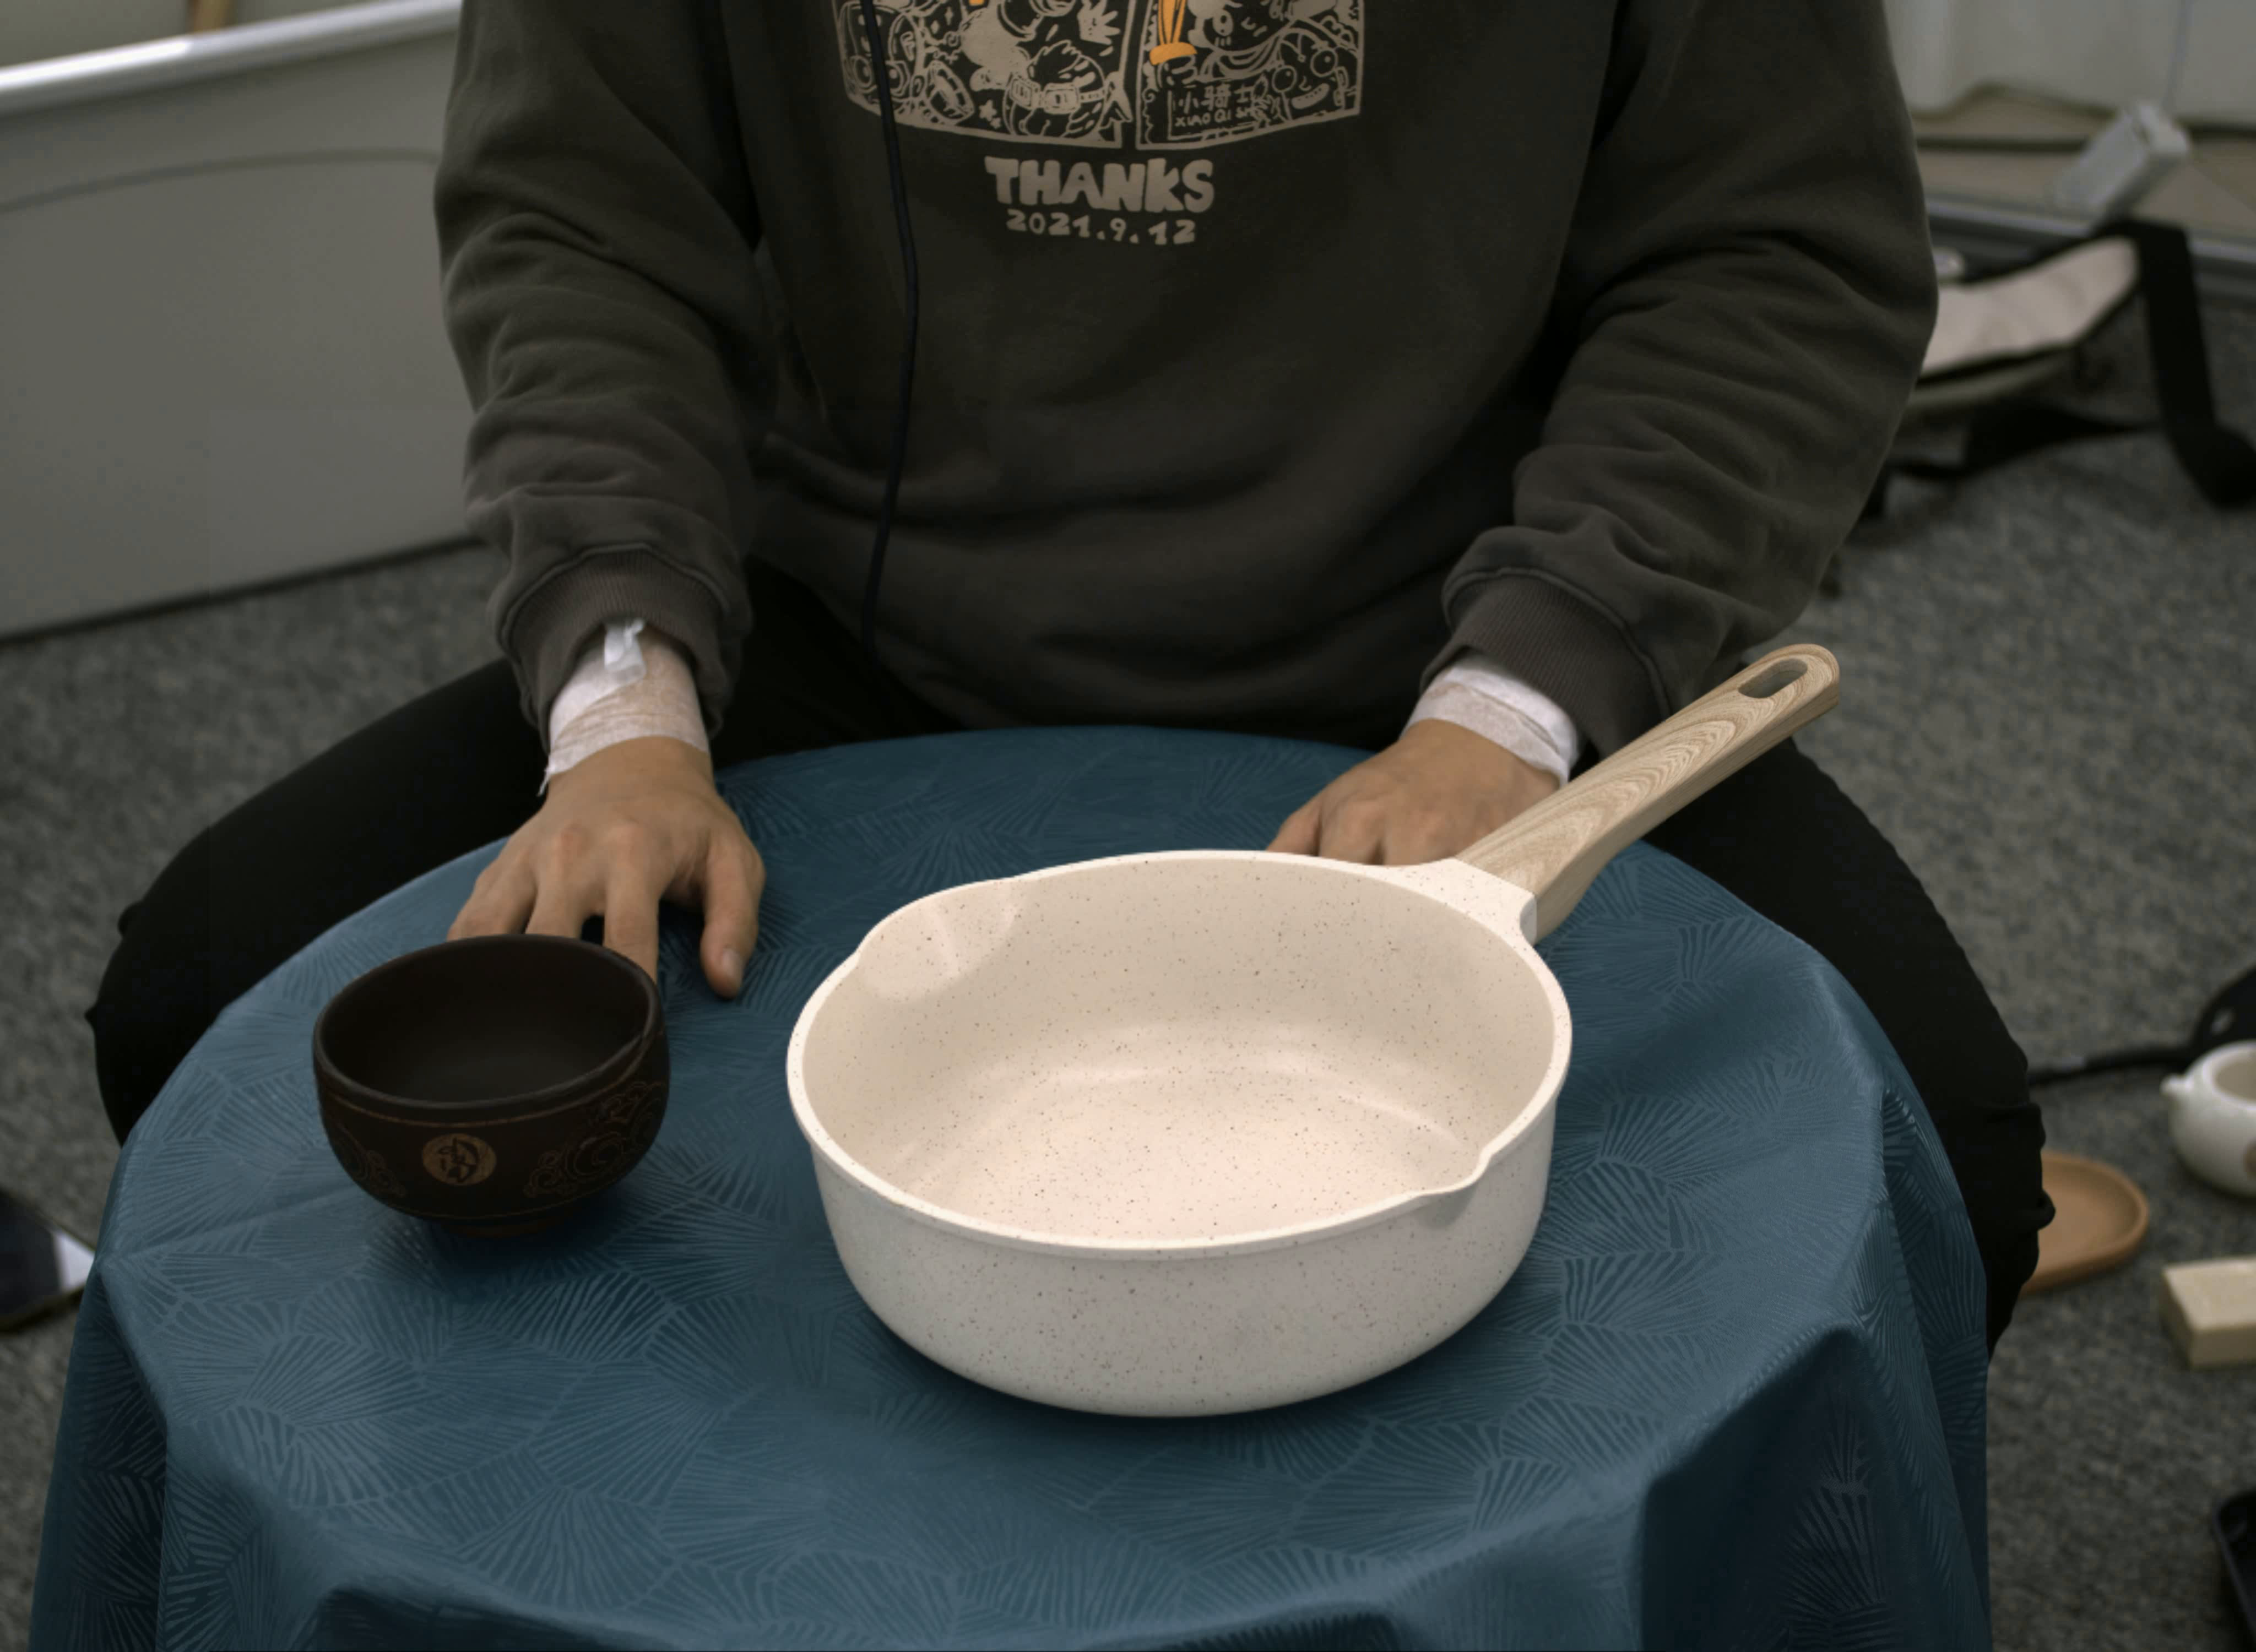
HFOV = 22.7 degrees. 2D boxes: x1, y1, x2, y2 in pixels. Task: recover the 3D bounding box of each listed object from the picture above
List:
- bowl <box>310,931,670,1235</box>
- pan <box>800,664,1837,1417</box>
[{"bbox_3d":[-0.209,0.092,1.861,0.117,0.069,0.120,-3,26,2],"label":"bowl"},{"bbox_3d":[0.089,0.065,1.856,0.440,0.101,0.263,-25,33,-37],"label":"pan"}]
